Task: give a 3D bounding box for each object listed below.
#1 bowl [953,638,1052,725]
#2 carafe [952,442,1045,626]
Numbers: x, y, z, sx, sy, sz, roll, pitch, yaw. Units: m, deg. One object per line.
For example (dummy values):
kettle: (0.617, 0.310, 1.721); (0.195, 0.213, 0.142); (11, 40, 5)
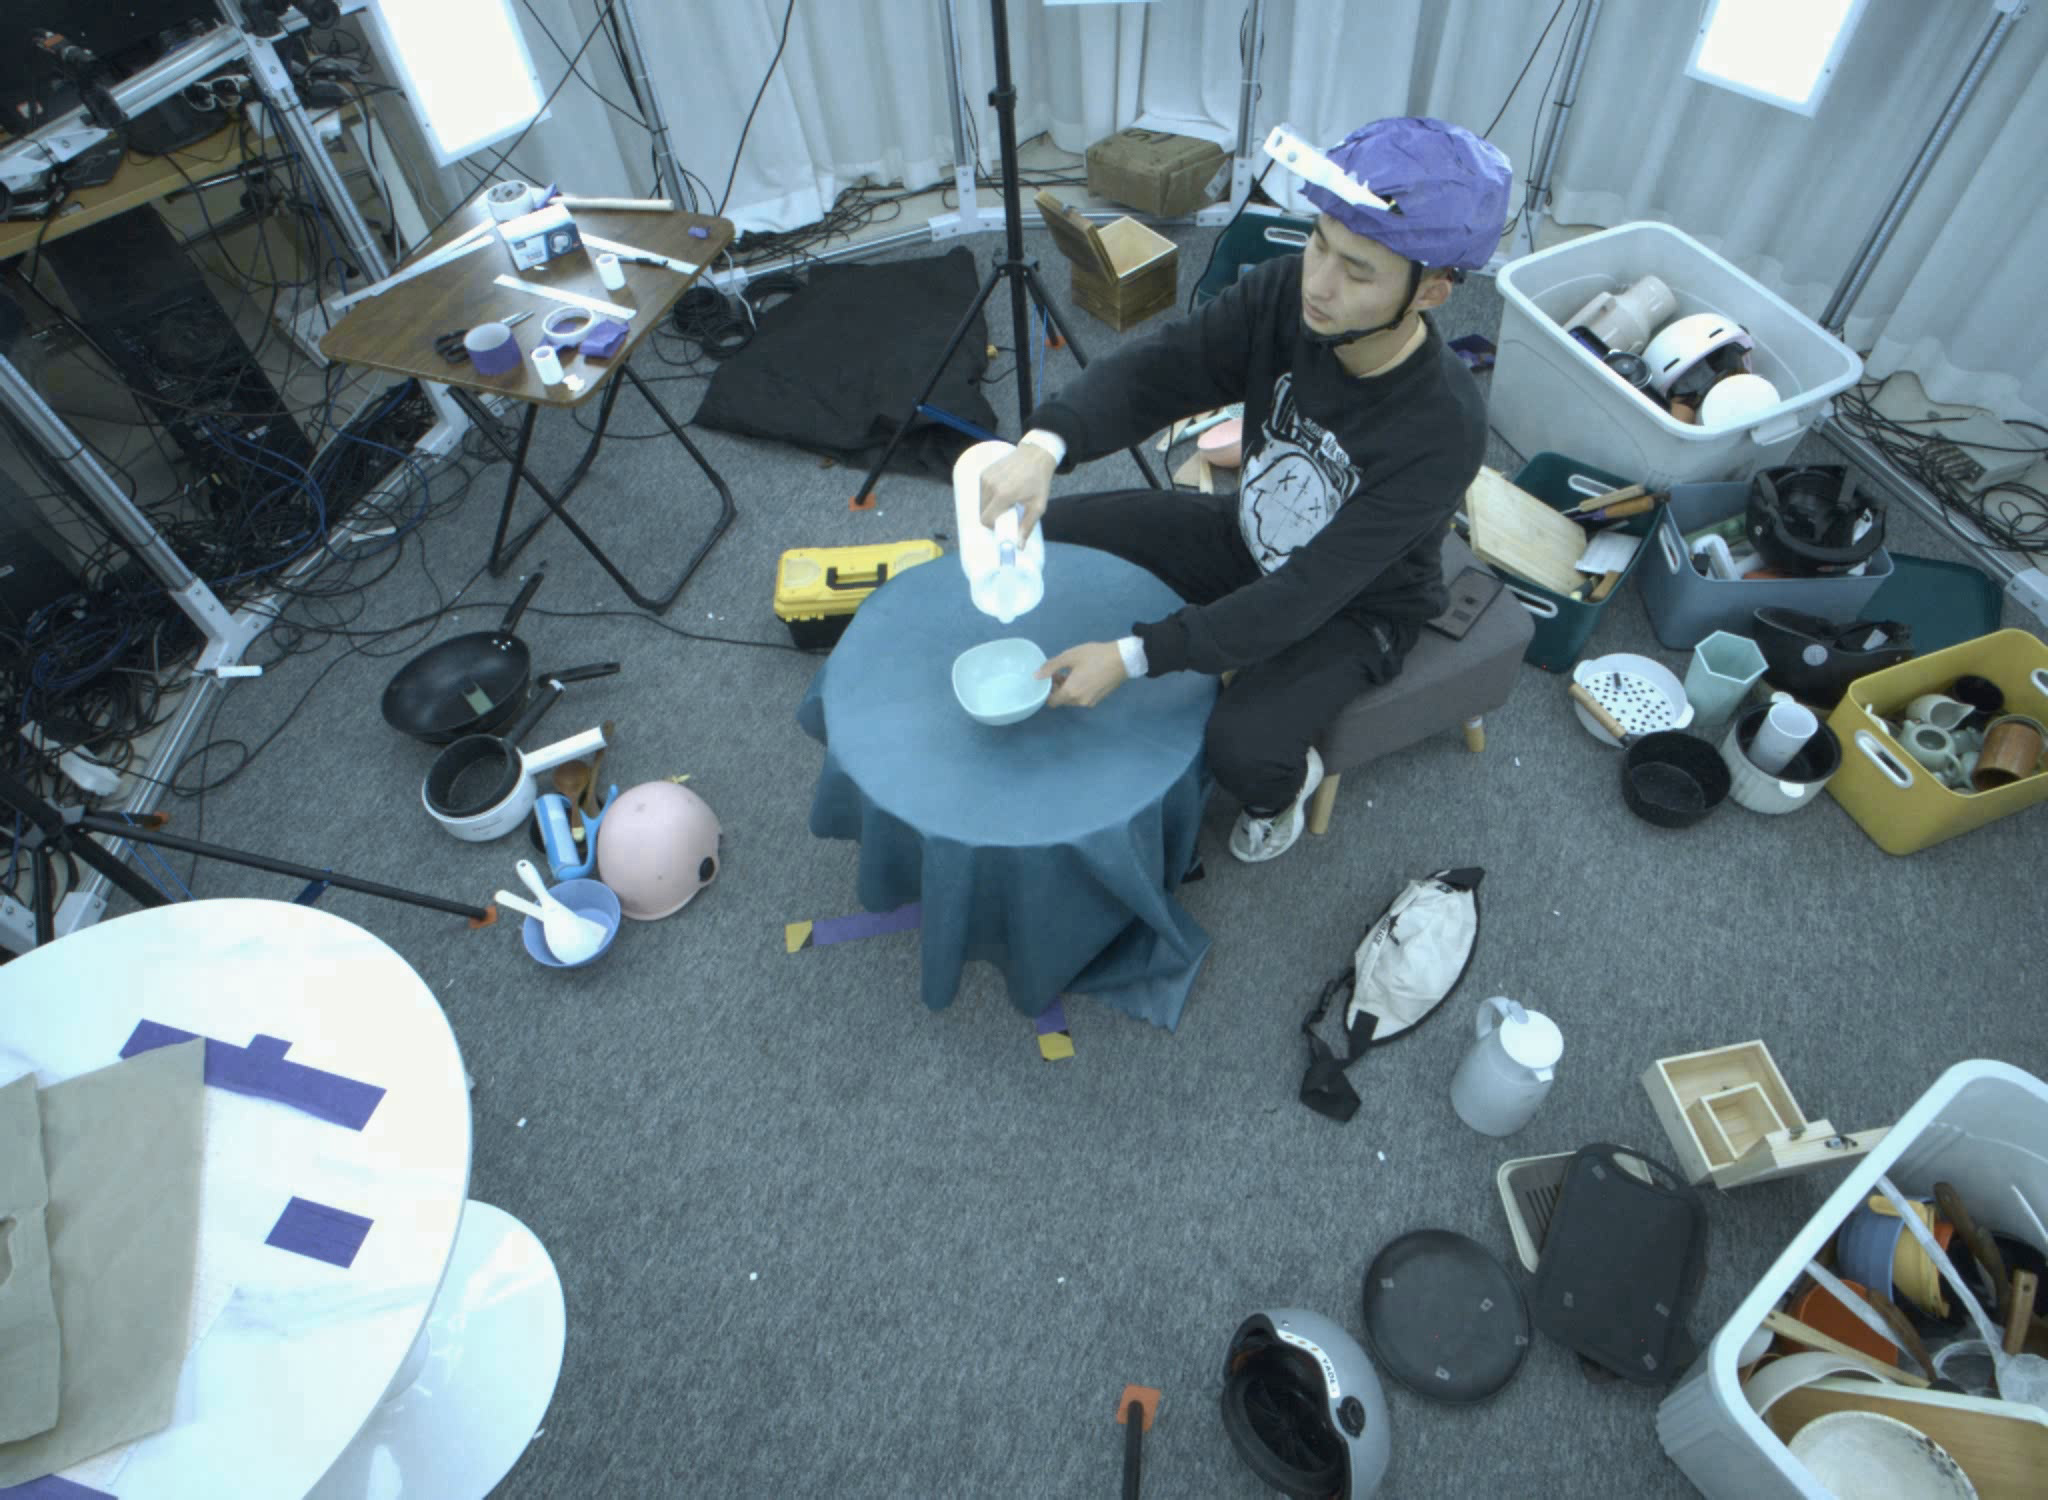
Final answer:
bowl: (-0.029, -0.088, 1.767); (0.151, 0.059, 0.150); (-2, 54, 4)
carafe: (-0.038, -0.324, 1.714); (0.124, 0.174, 0.265); (-4, 51, -3)
